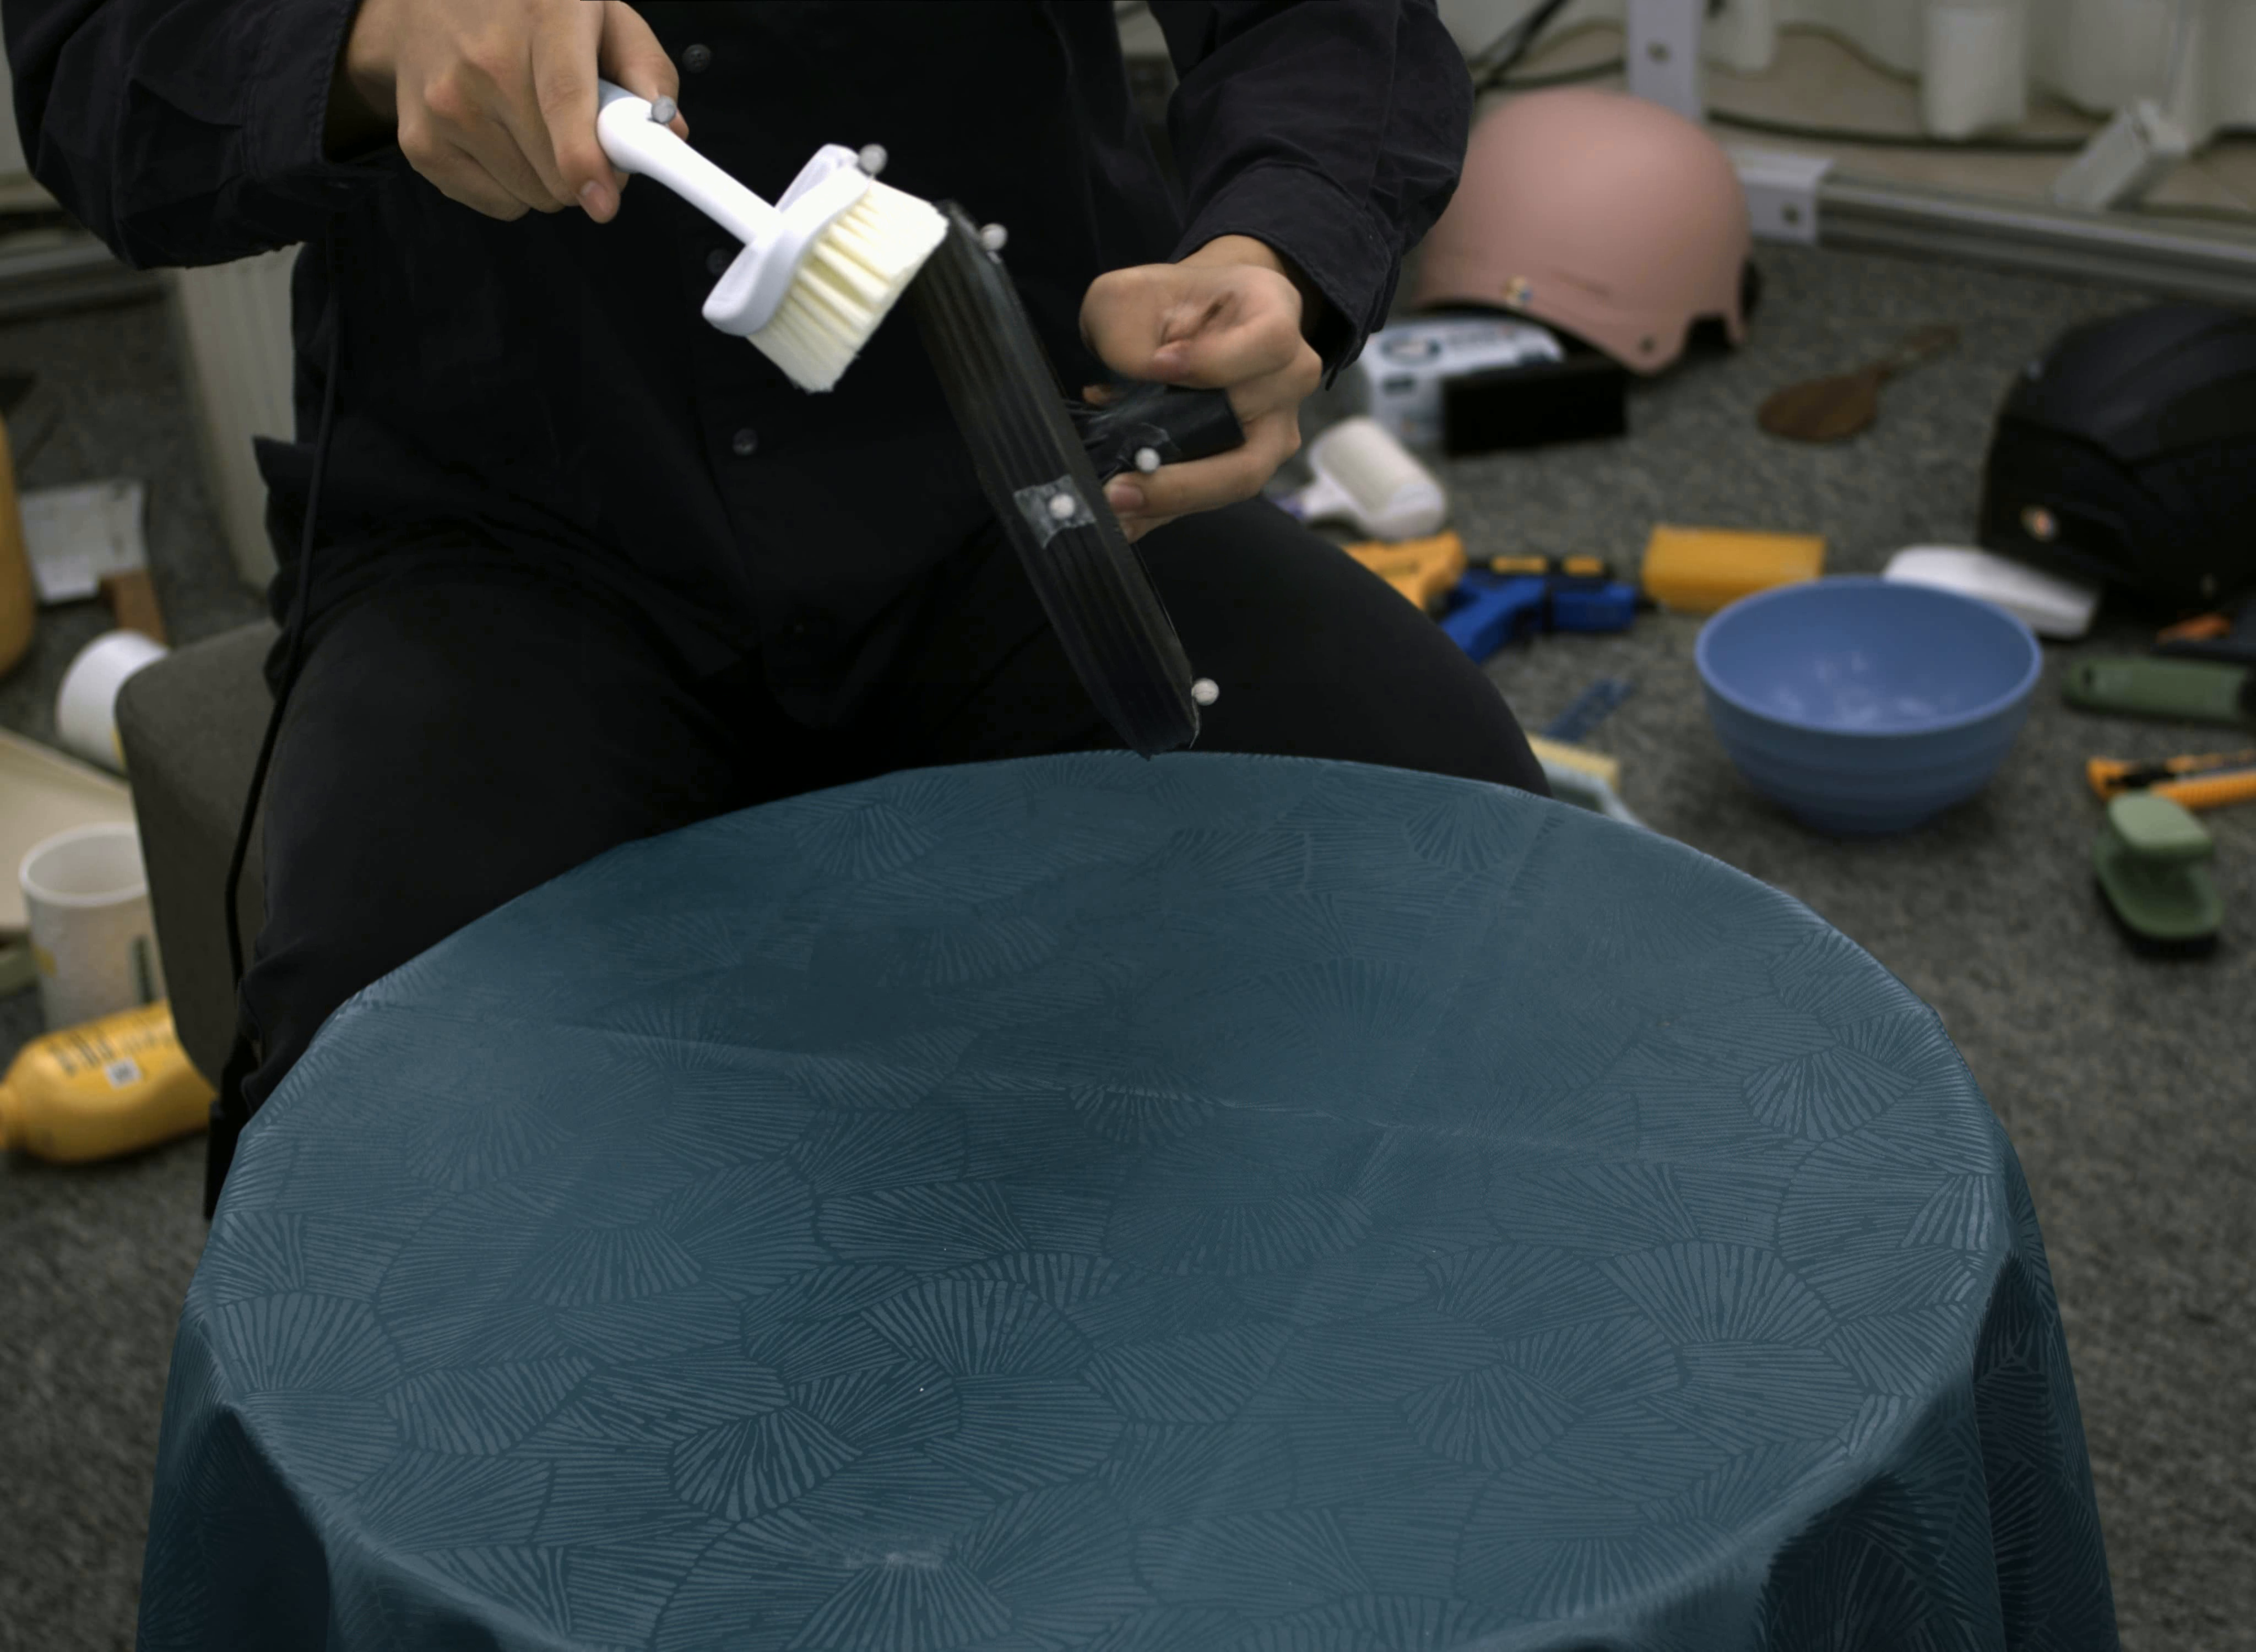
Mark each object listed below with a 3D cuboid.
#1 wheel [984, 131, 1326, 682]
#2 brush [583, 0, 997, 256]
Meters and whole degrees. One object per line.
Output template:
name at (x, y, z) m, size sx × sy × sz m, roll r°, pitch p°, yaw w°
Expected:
wheel at (0.022, -0.144, 1.808) m, size 0.079 × 0.185 × 0.192 m, roll -26°, pitch 39°, yaw 2°
brush at (-0.103, -0.240, 1.829) m, size 0.083 × 0.084 × 0.326 m, roll -21°, pitch 20°, yaw -13°
